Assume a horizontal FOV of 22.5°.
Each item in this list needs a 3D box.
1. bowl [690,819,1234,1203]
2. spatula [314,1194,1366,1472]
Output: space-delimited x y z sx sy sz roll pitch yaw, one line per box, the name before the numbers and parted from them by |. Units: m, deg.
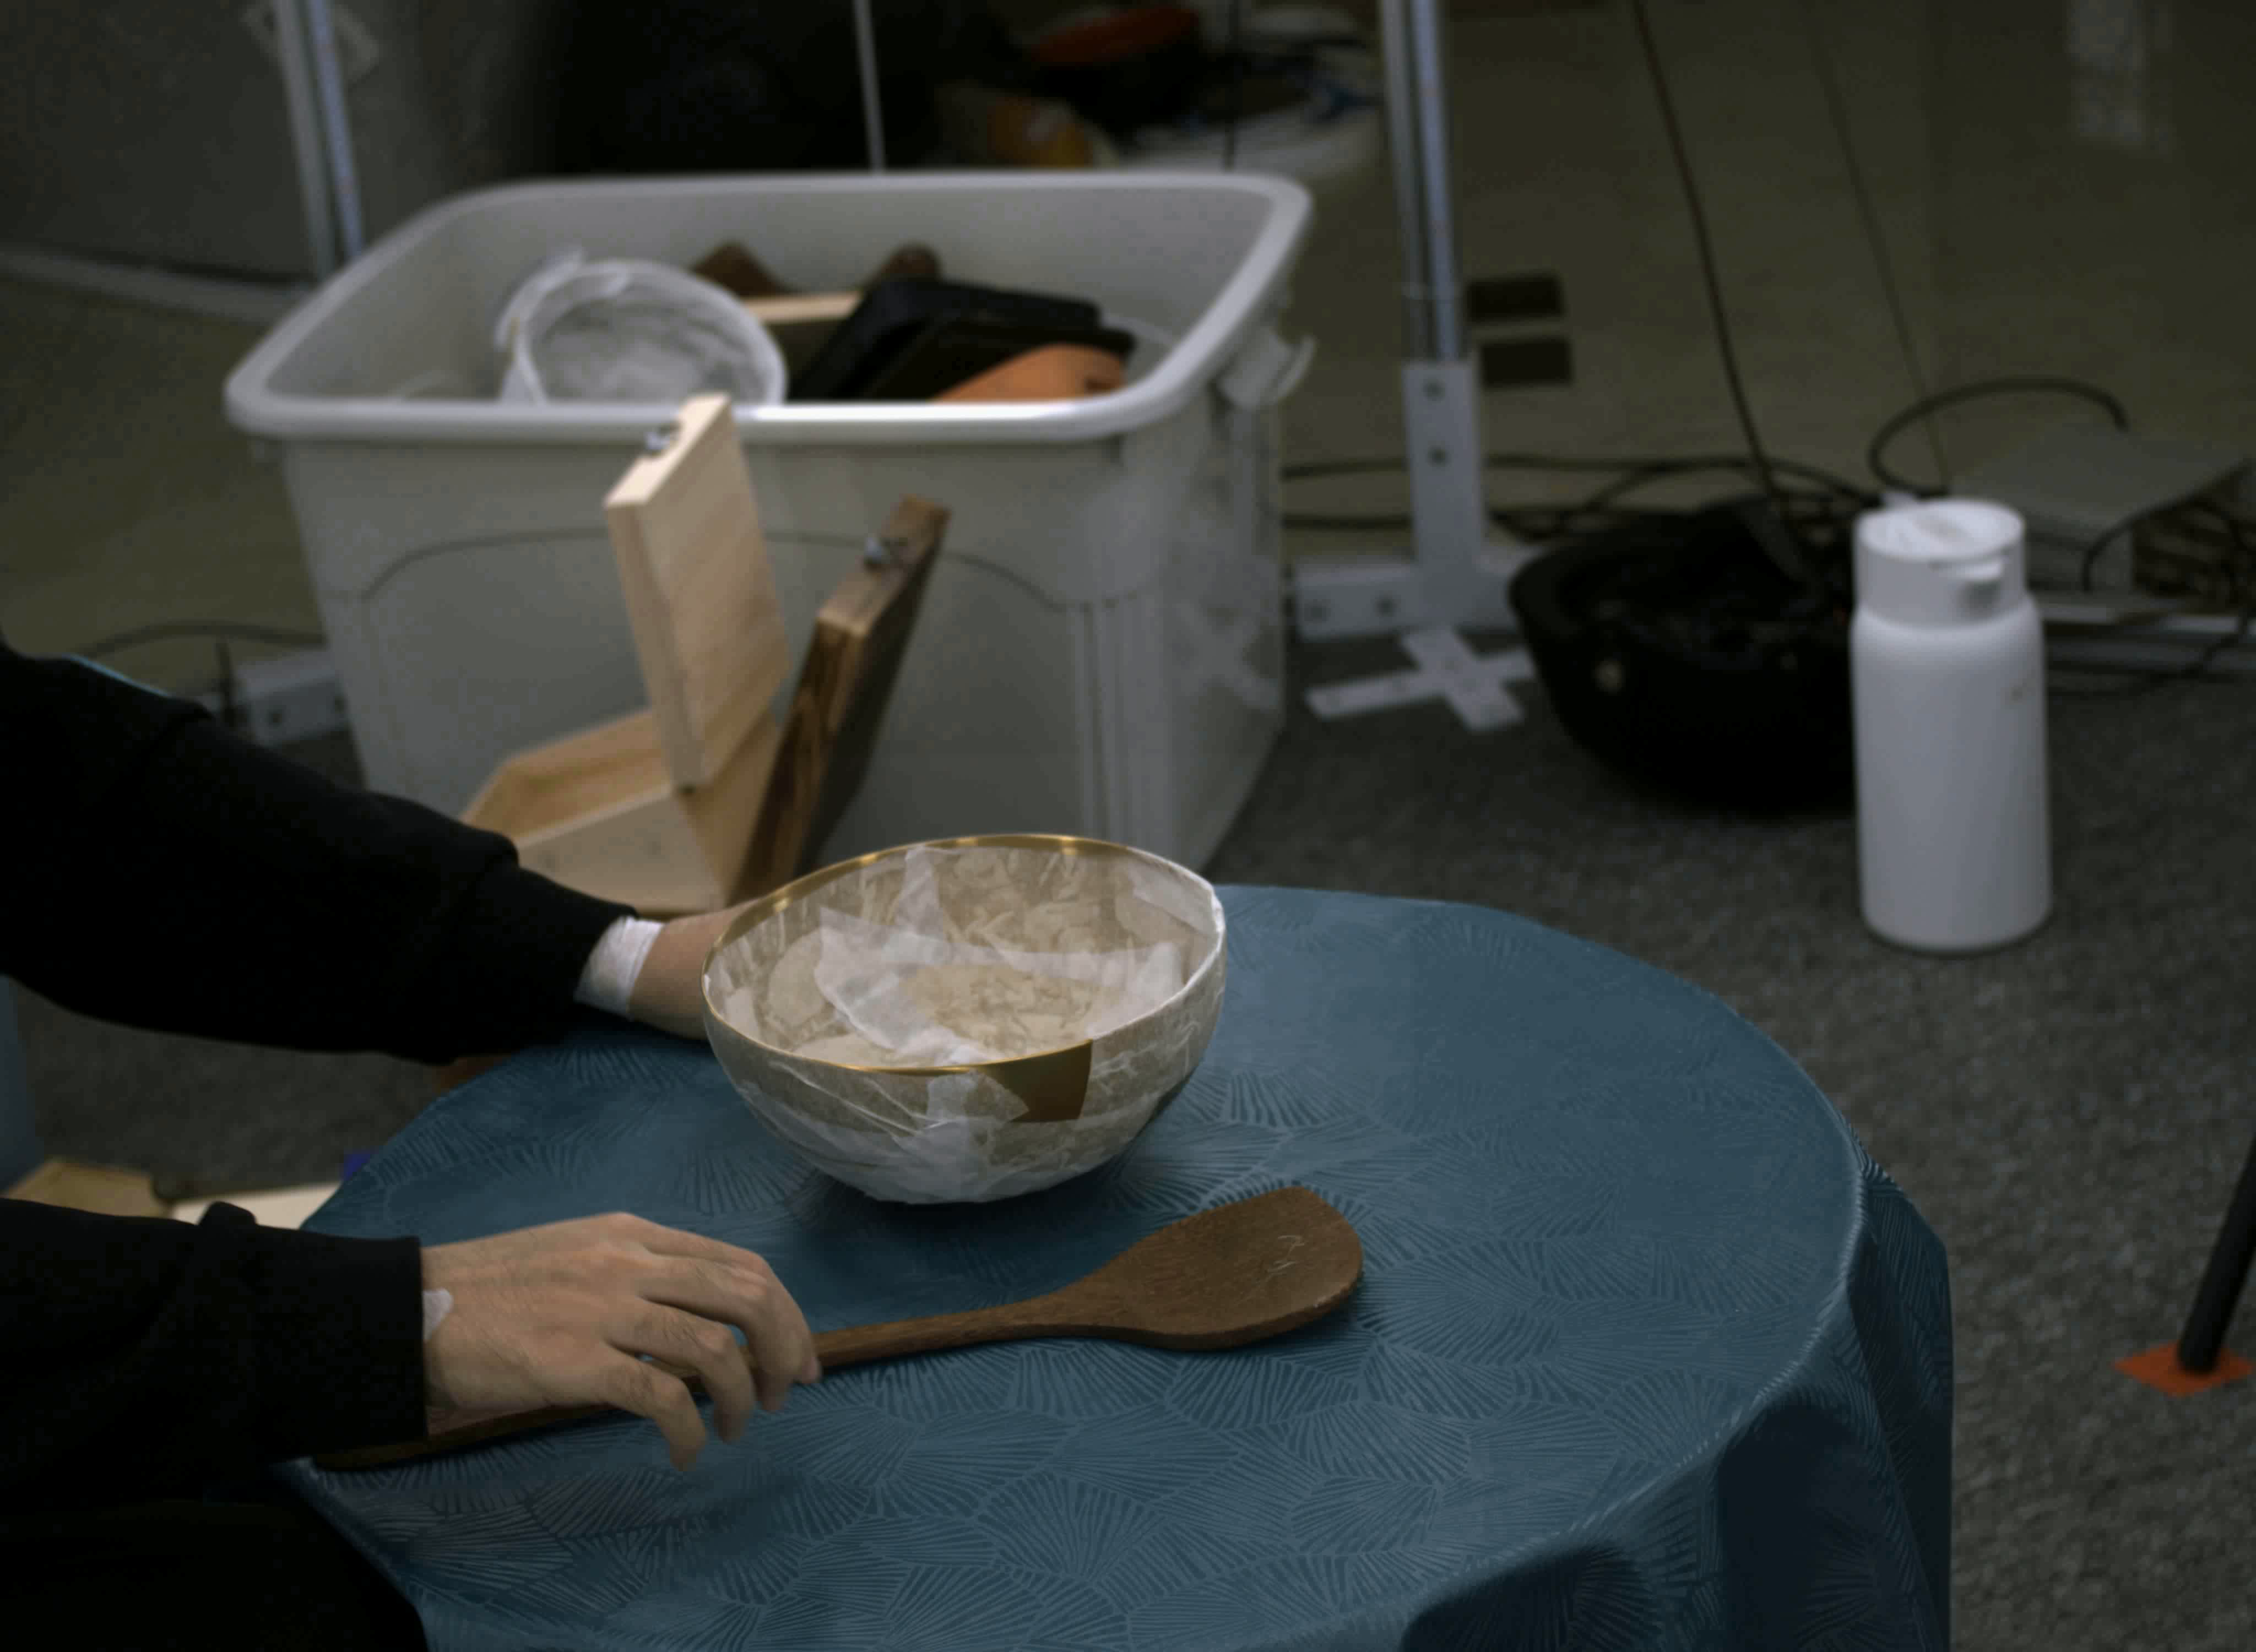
bowl | -0.060 0.084 2.172 0.214 0.096 0.211 -5 27 3
spatula | -0.104 0.189 2.054 0.385 0.016 0.095 -10 25 -7
